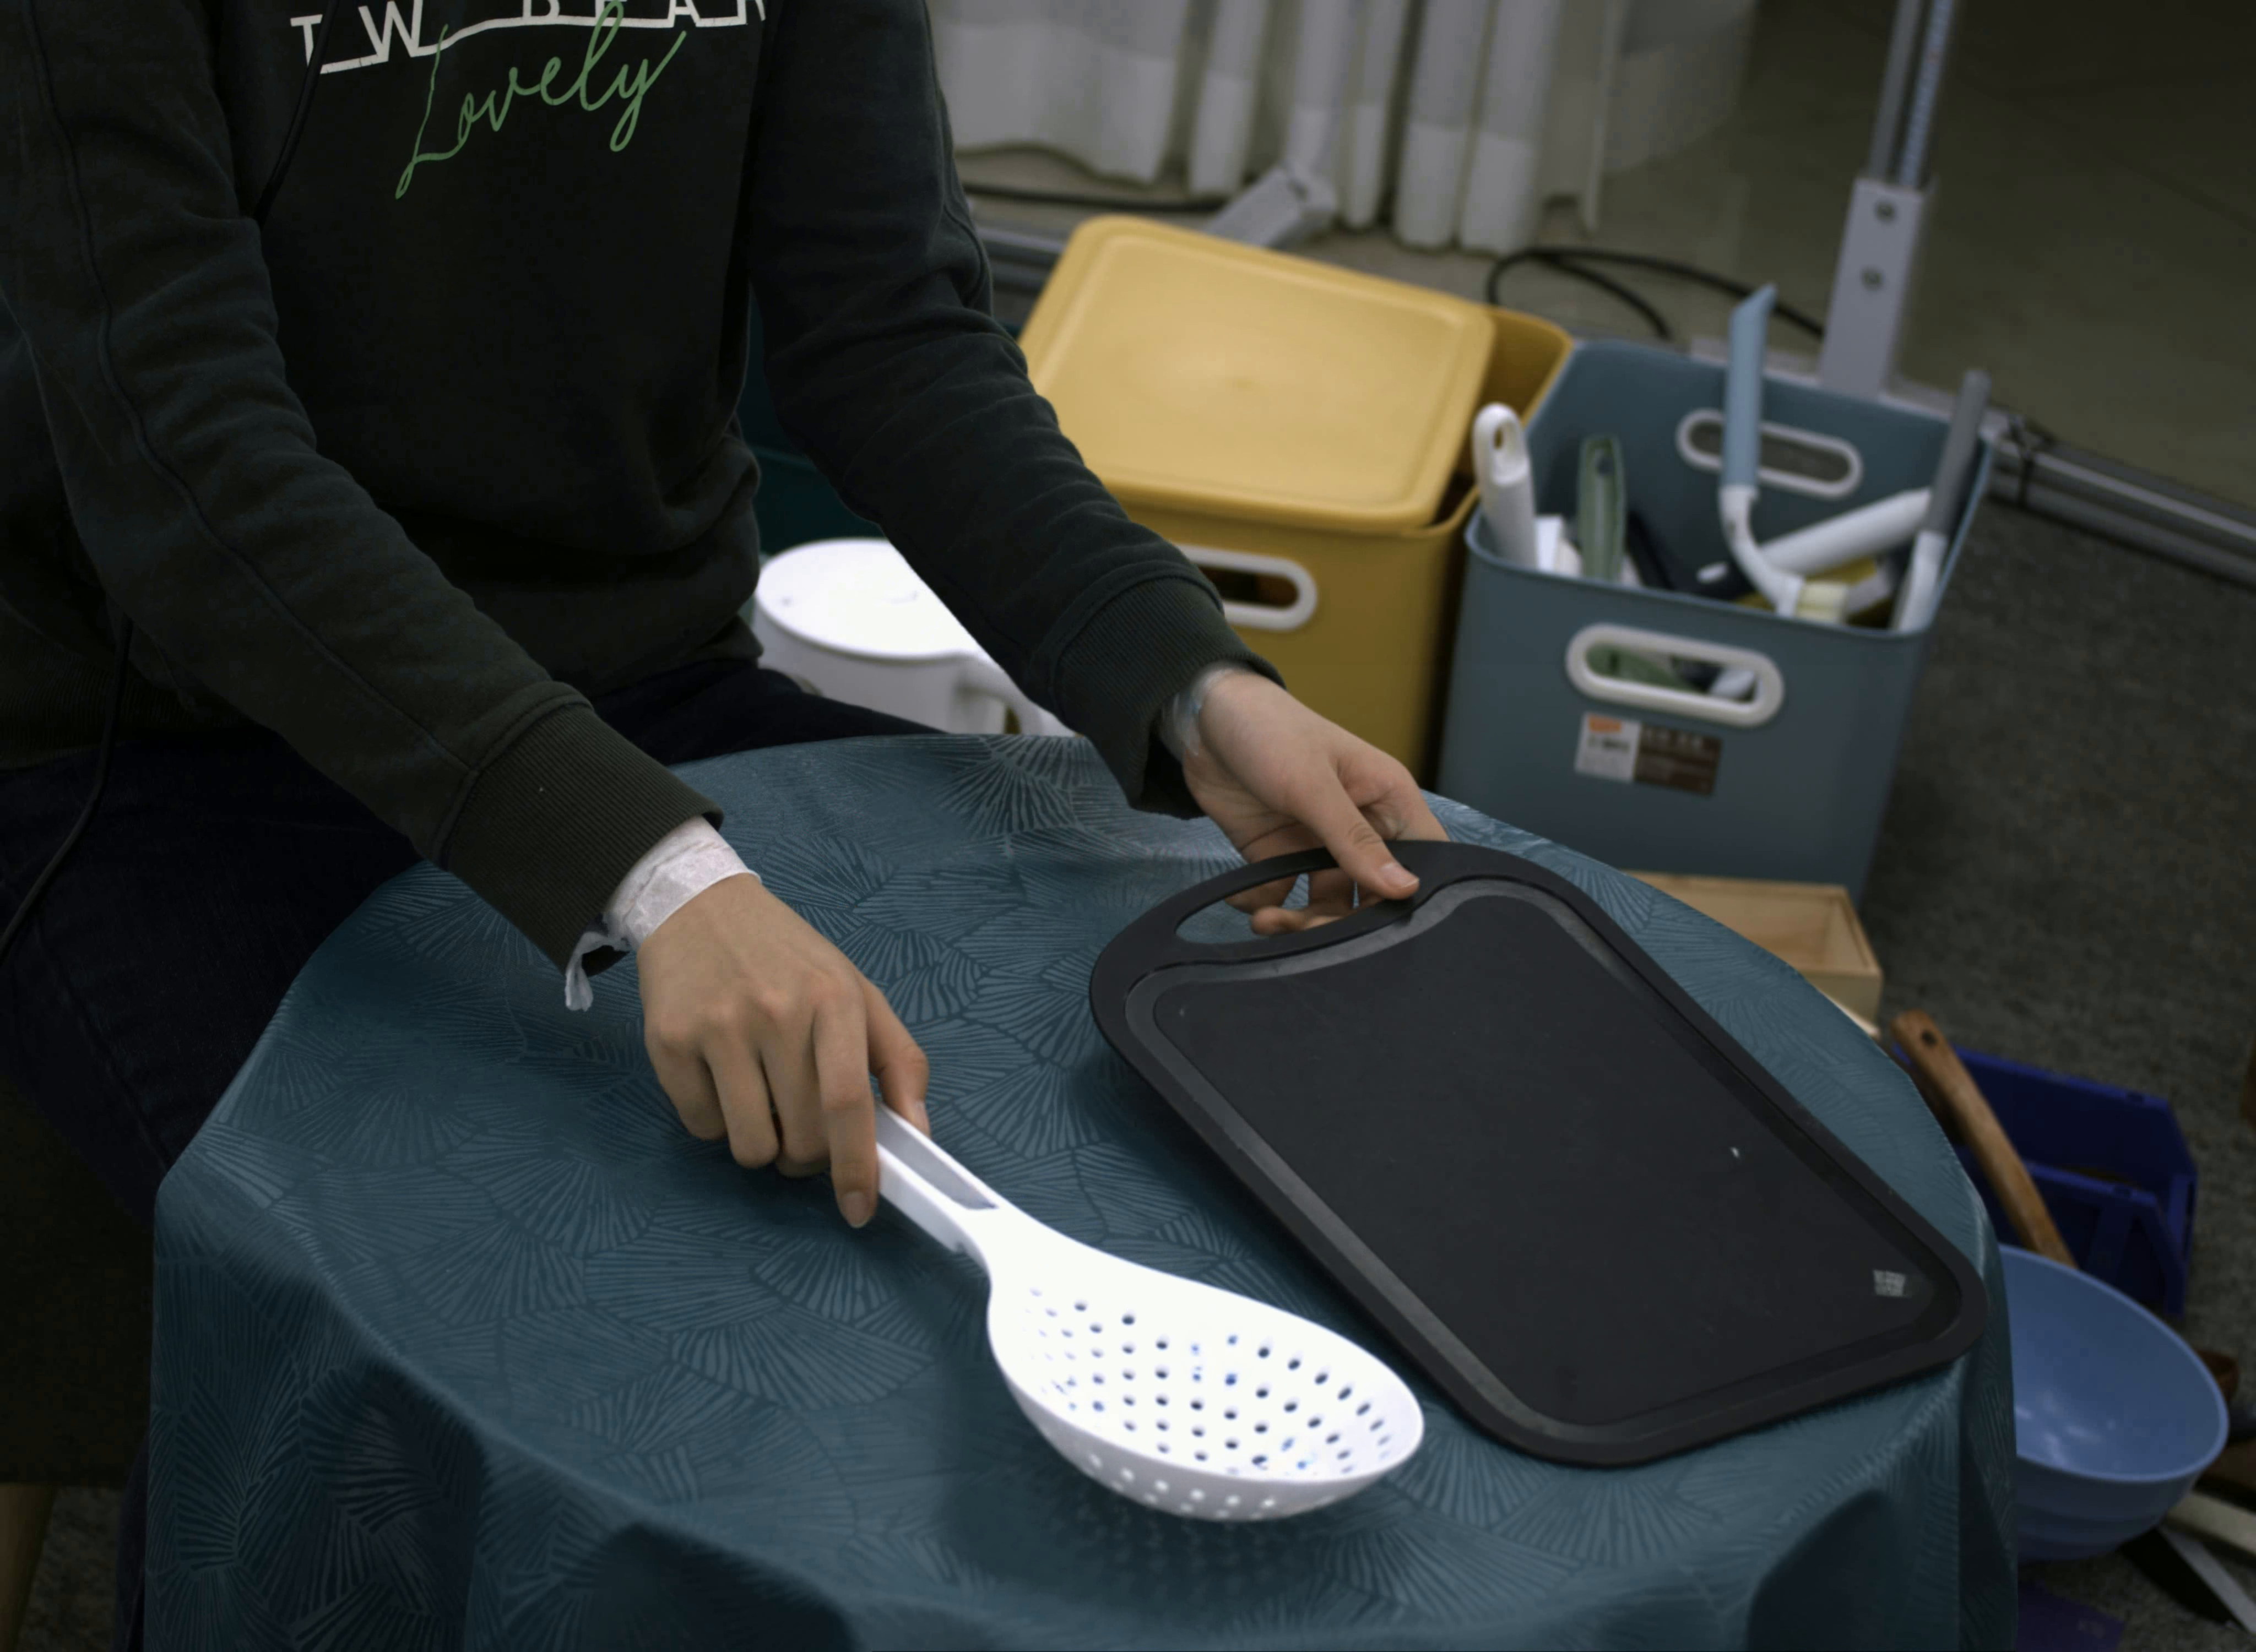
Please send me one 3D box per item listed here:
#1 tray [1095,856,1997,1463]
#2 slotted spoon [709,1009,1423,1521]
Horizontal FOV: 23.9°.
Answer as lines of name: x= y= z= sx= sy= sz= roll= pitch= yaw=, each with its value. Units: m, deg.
tray: x=0.134 y=0.103 z=1.820 sx=0.210 sy=0.010 sz=0.328 roll=-13 pitch=39 yaw=-30
slotted spoon: x=-0.038 y=0.135 z=1.709 sx=0.135 sy=0.045 sz=0.353 roll=0 pitch=26 yaw=-37
